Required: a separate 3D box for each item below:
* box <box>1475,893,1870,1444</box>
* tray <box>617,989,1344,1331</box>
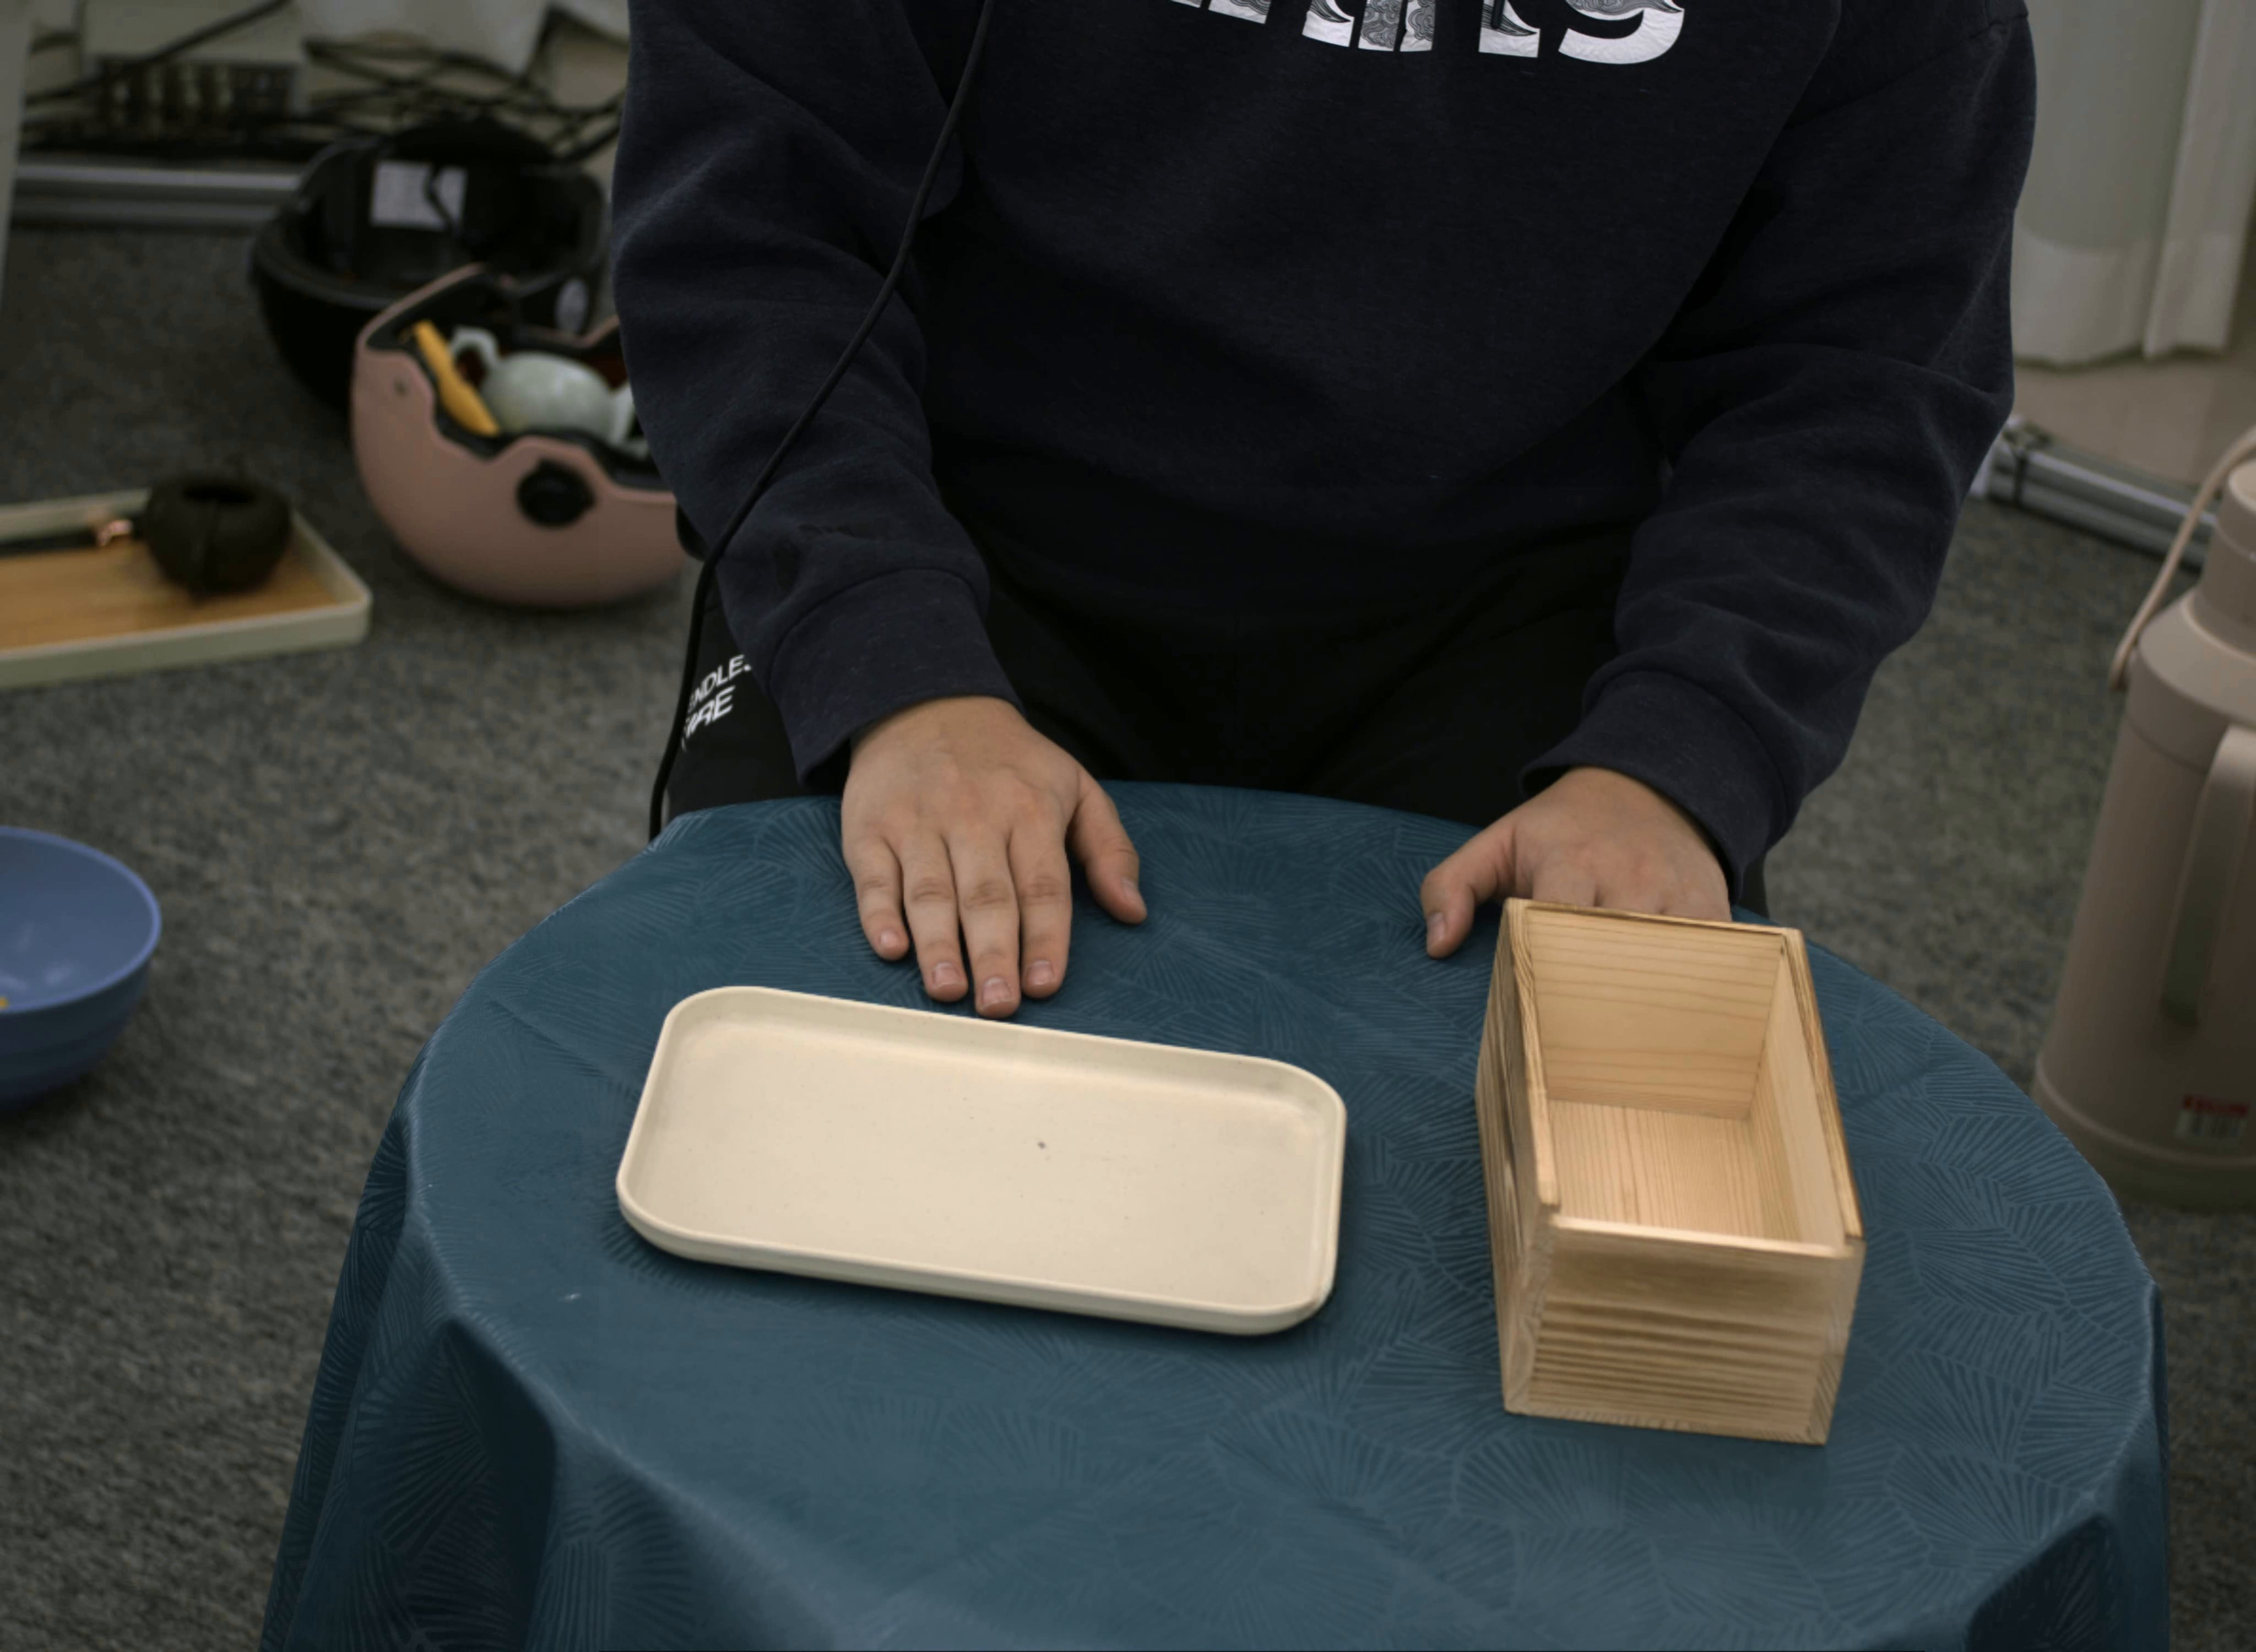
[{"bbox_3d":[0.179,0.111,1.784,0.107,0.080,0.212,6,27,-3],"label":"box"},{"bbox_3d":[-0.047,0.113,1.796,0.239,0.017,0.172,8,26,1],"label":"tray"}]
